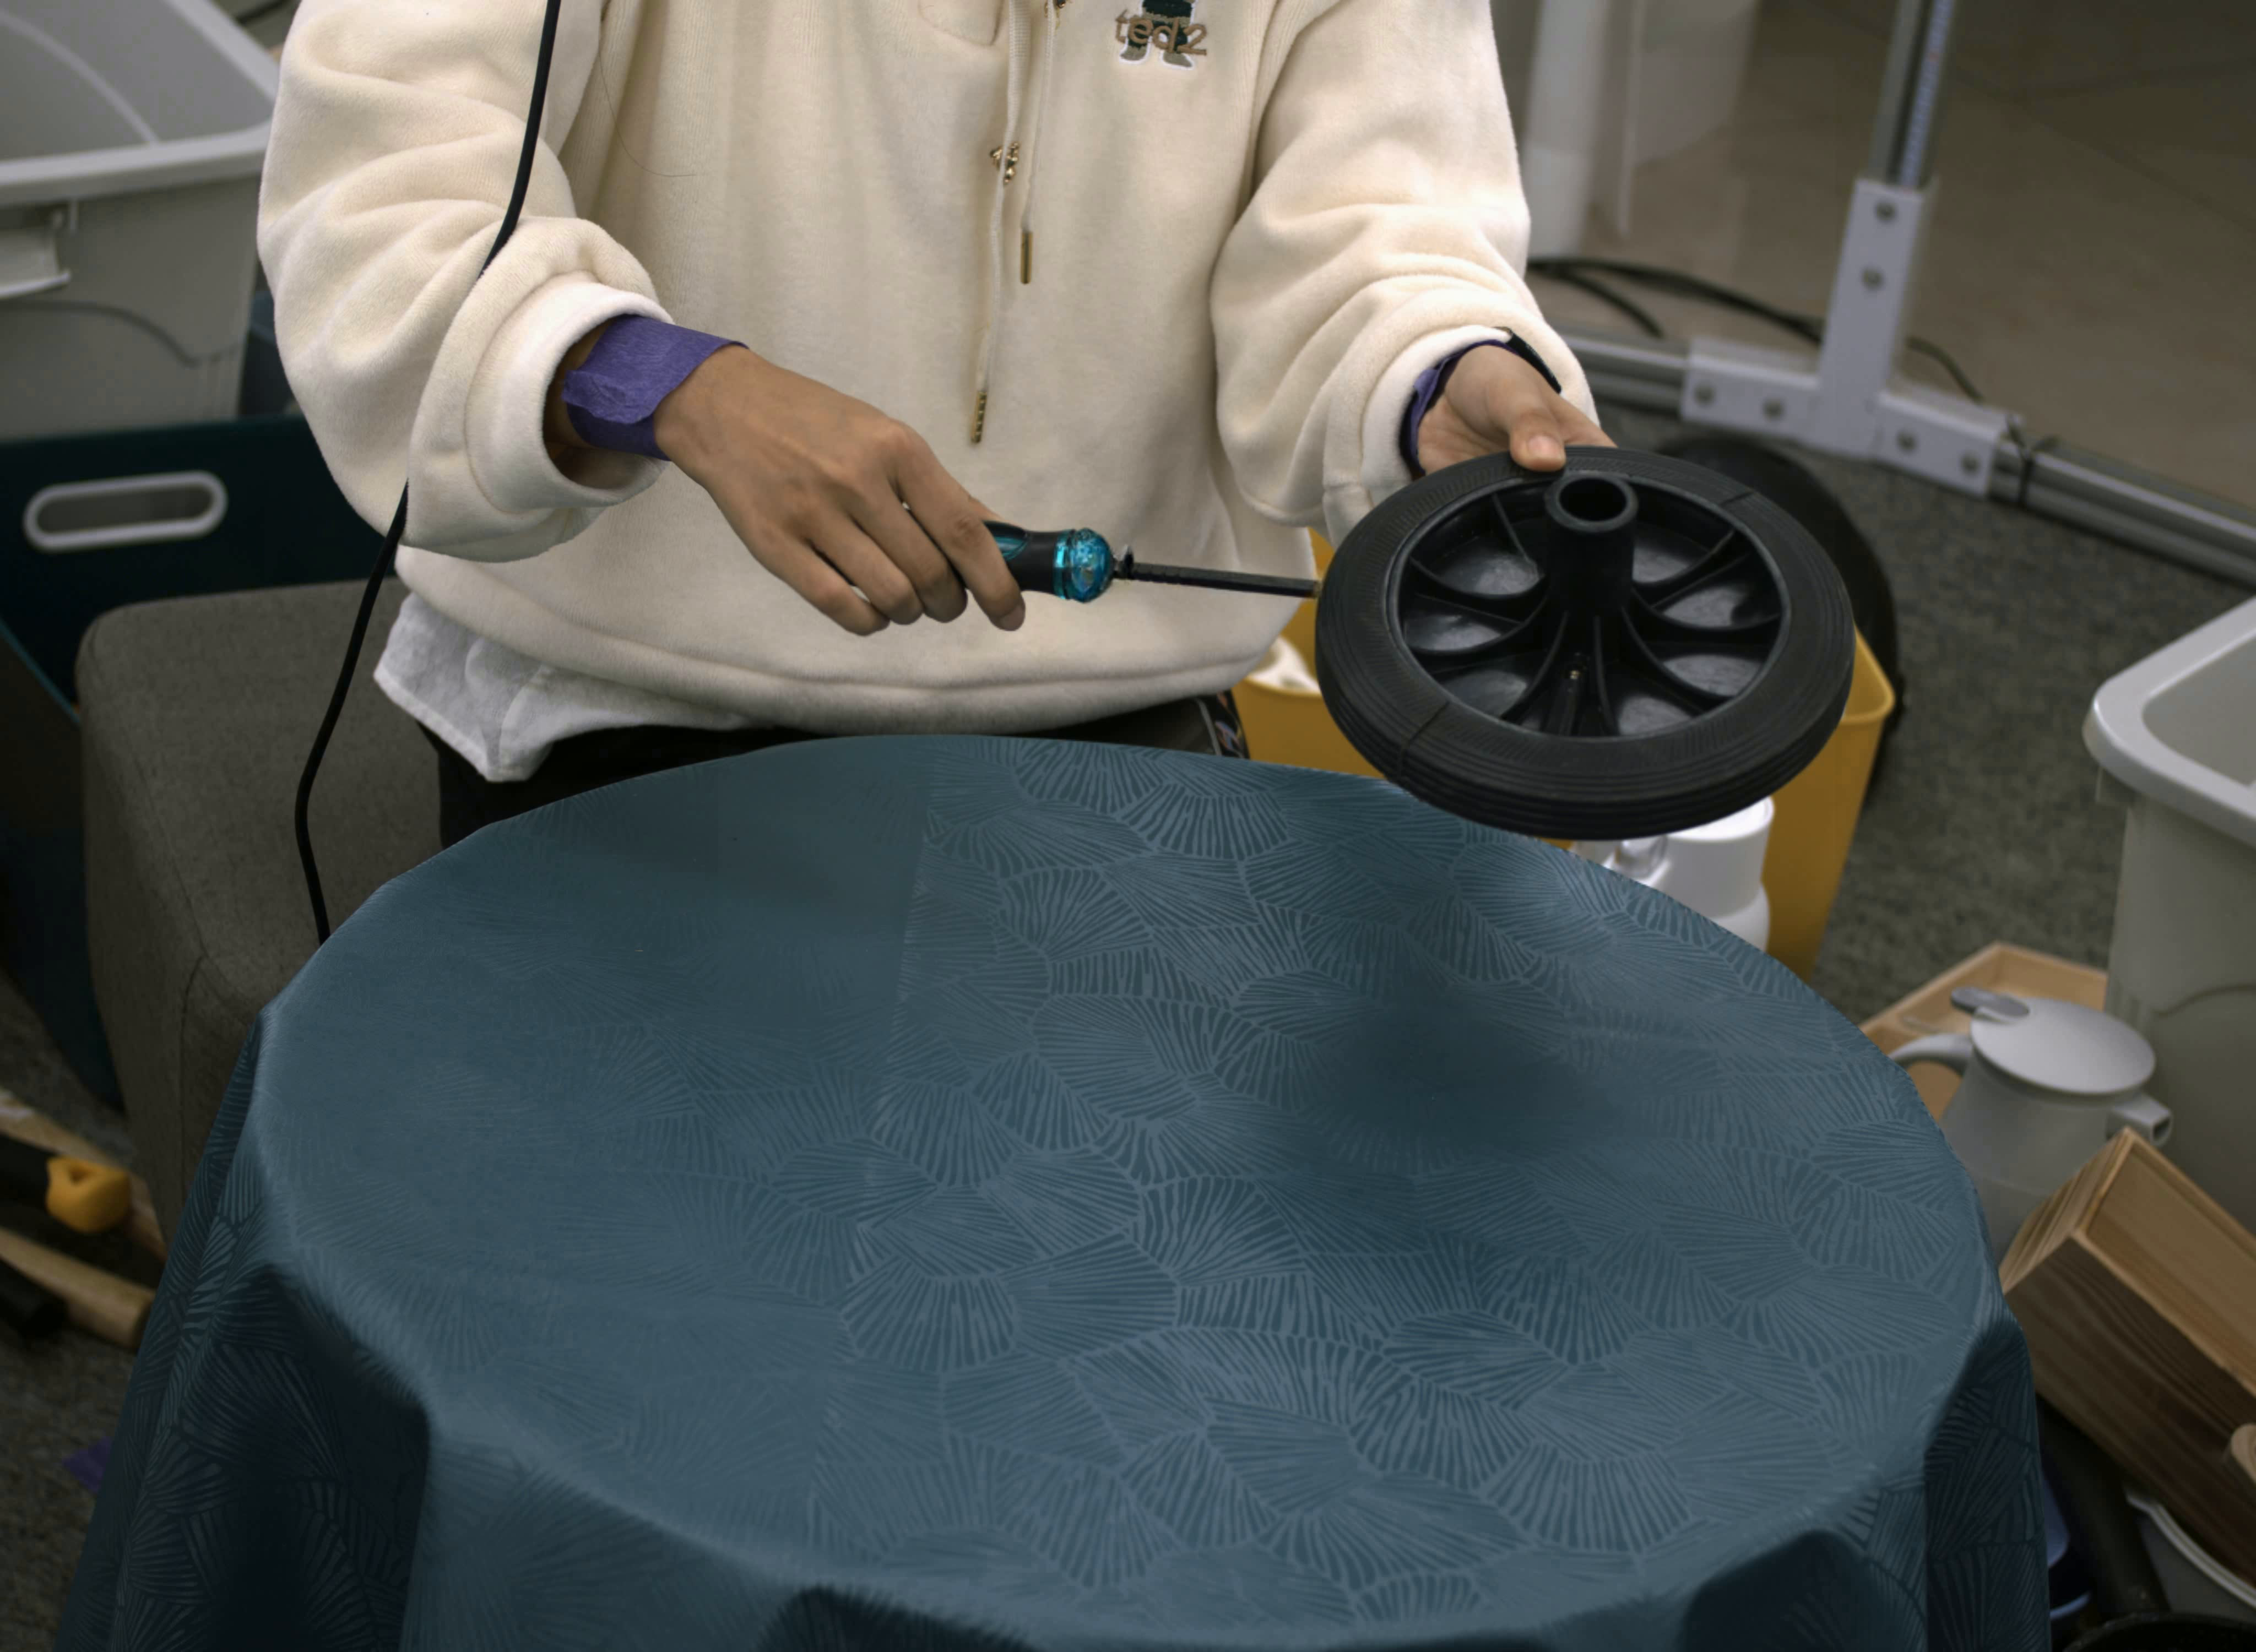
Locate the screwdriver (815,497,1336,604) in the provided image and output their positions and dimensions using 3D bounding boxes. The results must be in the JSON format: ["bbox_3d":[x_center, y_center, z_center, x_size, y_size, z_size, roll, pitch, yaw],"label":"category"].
[{"bbox_3d":[-0.019,-0.092,1.876,0.190,0.033,0.034,8,26,14],"label":"screwdriver"}]

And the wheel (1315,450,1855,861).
[{"bbox_3d":[0.159,-0.077,1.839,0.187,0.078,0.191,-7,46,-6],"label":"wheel"}]
